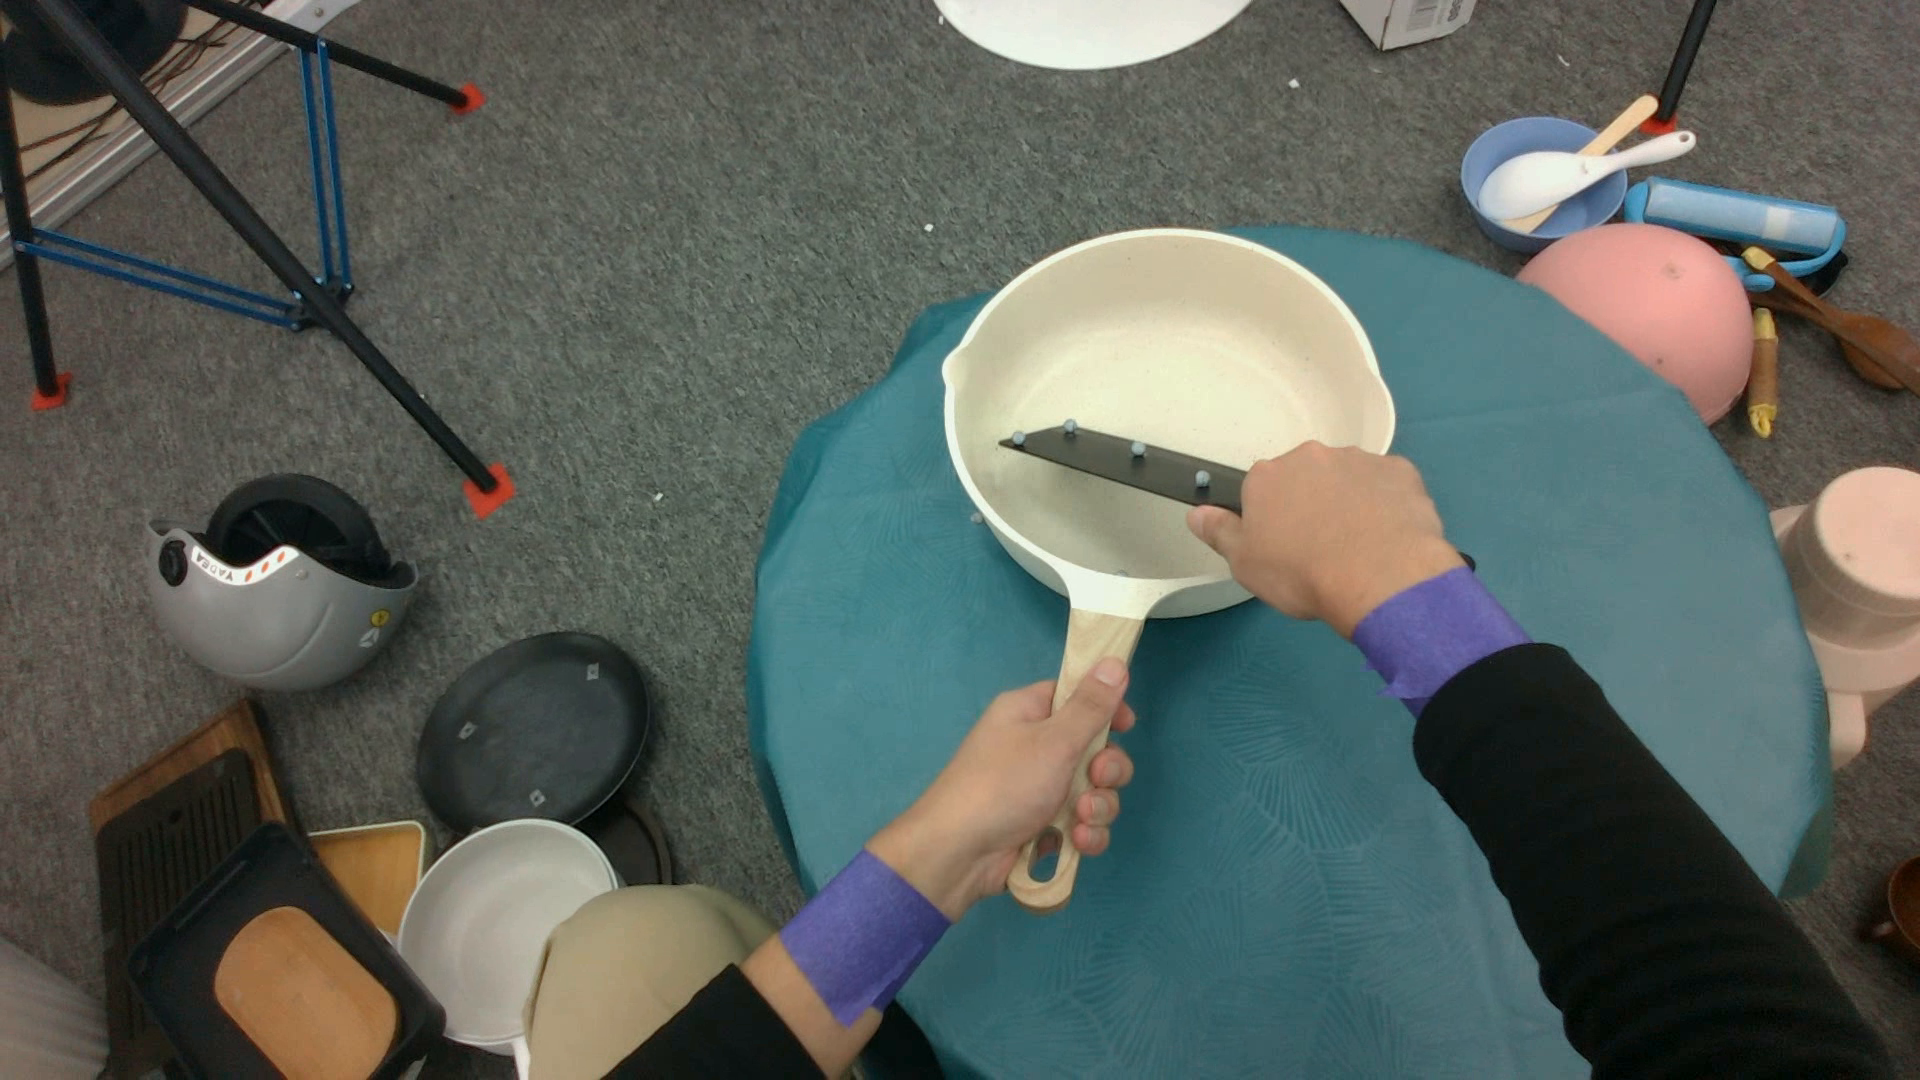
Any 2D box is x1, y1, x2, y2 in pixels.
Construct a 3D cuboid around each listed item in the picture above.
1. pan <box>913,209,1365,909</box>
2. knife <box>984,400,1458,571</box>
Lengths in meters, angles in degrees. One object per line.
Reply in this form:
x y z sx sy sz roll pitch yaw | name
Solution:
0.083 0.001 0.786 0.263 0.101 0.436 9 64 10 | pan
0.129 -0.038 0.736 0.081 0.021 0.302 -16 26 -32 | knife
